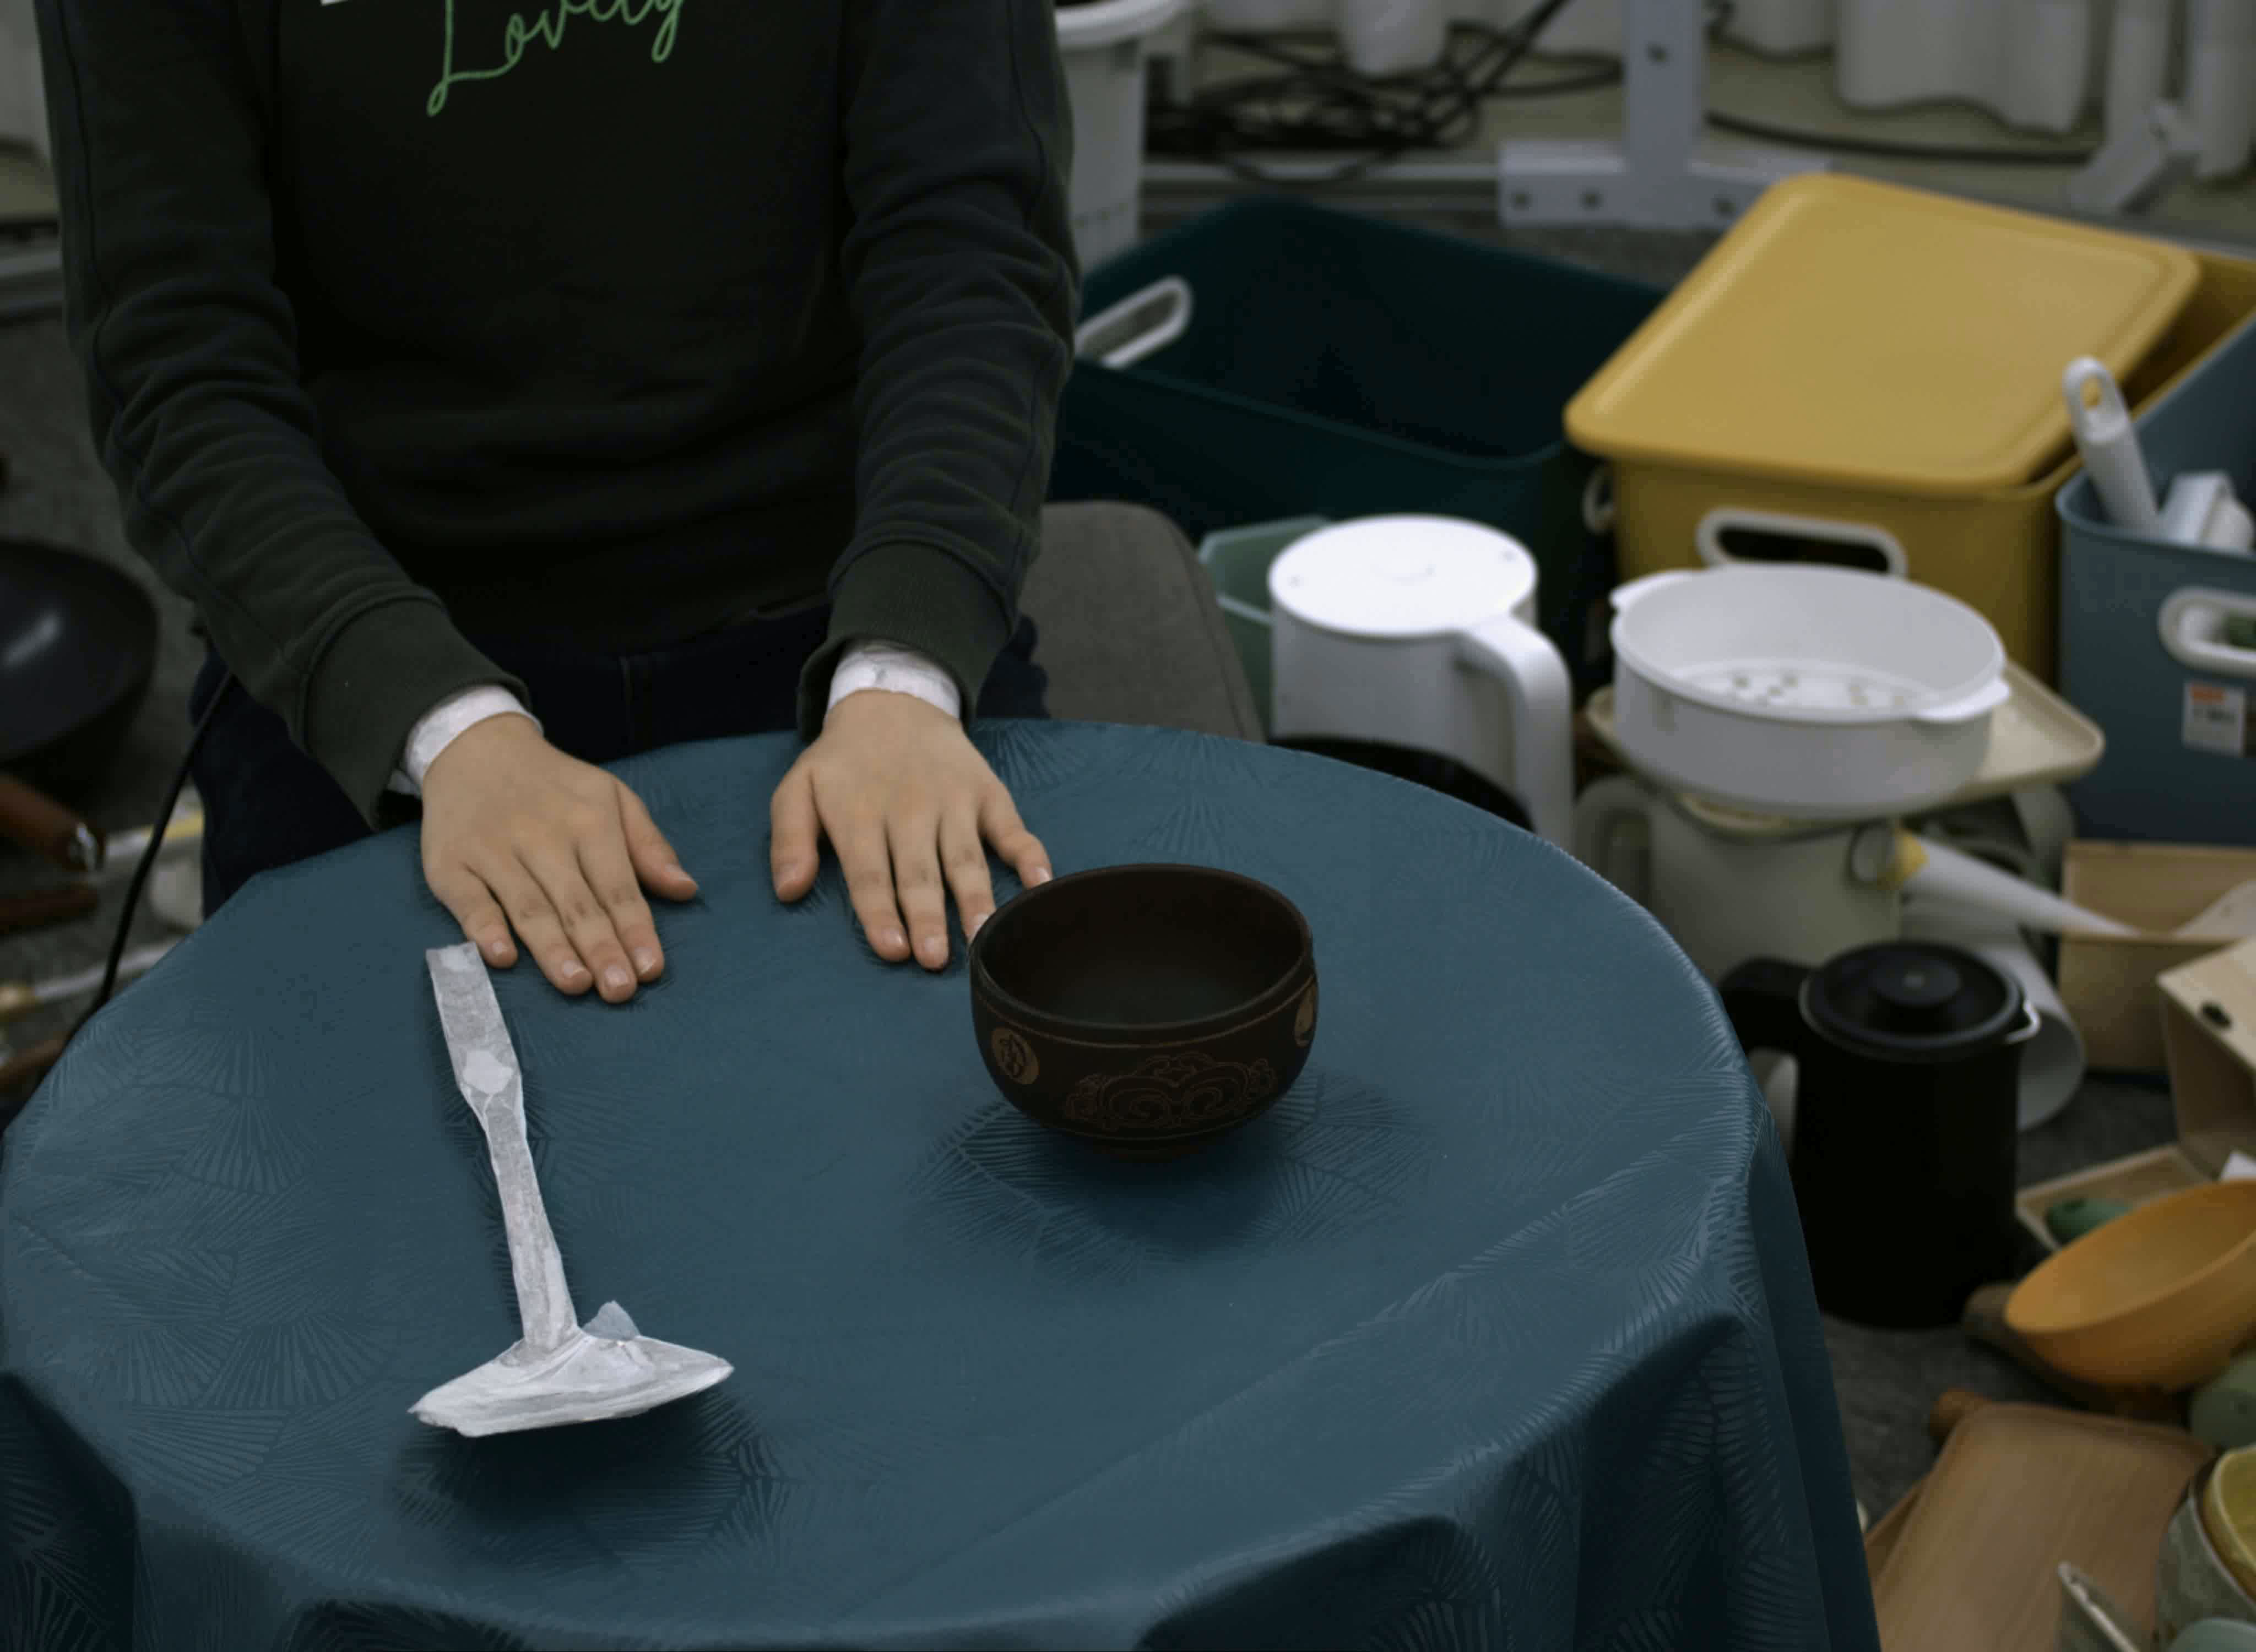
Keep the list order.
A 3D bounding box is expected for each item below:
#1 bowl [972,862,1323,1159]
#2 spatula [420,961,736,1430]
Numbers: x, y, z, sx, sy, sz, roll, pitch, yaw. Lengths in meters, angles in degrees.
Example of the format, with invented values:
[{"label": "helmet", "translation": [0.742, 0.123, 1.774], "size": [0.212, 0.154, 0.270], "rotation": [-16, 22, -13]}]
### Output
[{"label": "bowl", "translation": [0.007, 0.068, 1.887], "size": [0.117, 0.069, 0.120], "rotation": [-1, 26, 1]}, {"label": "spatula", "translation": [-0.198, 0.114, 1.854], "size": [0.098, 0.044, 0.369], "rotation": [-9, 28, -8]}]
